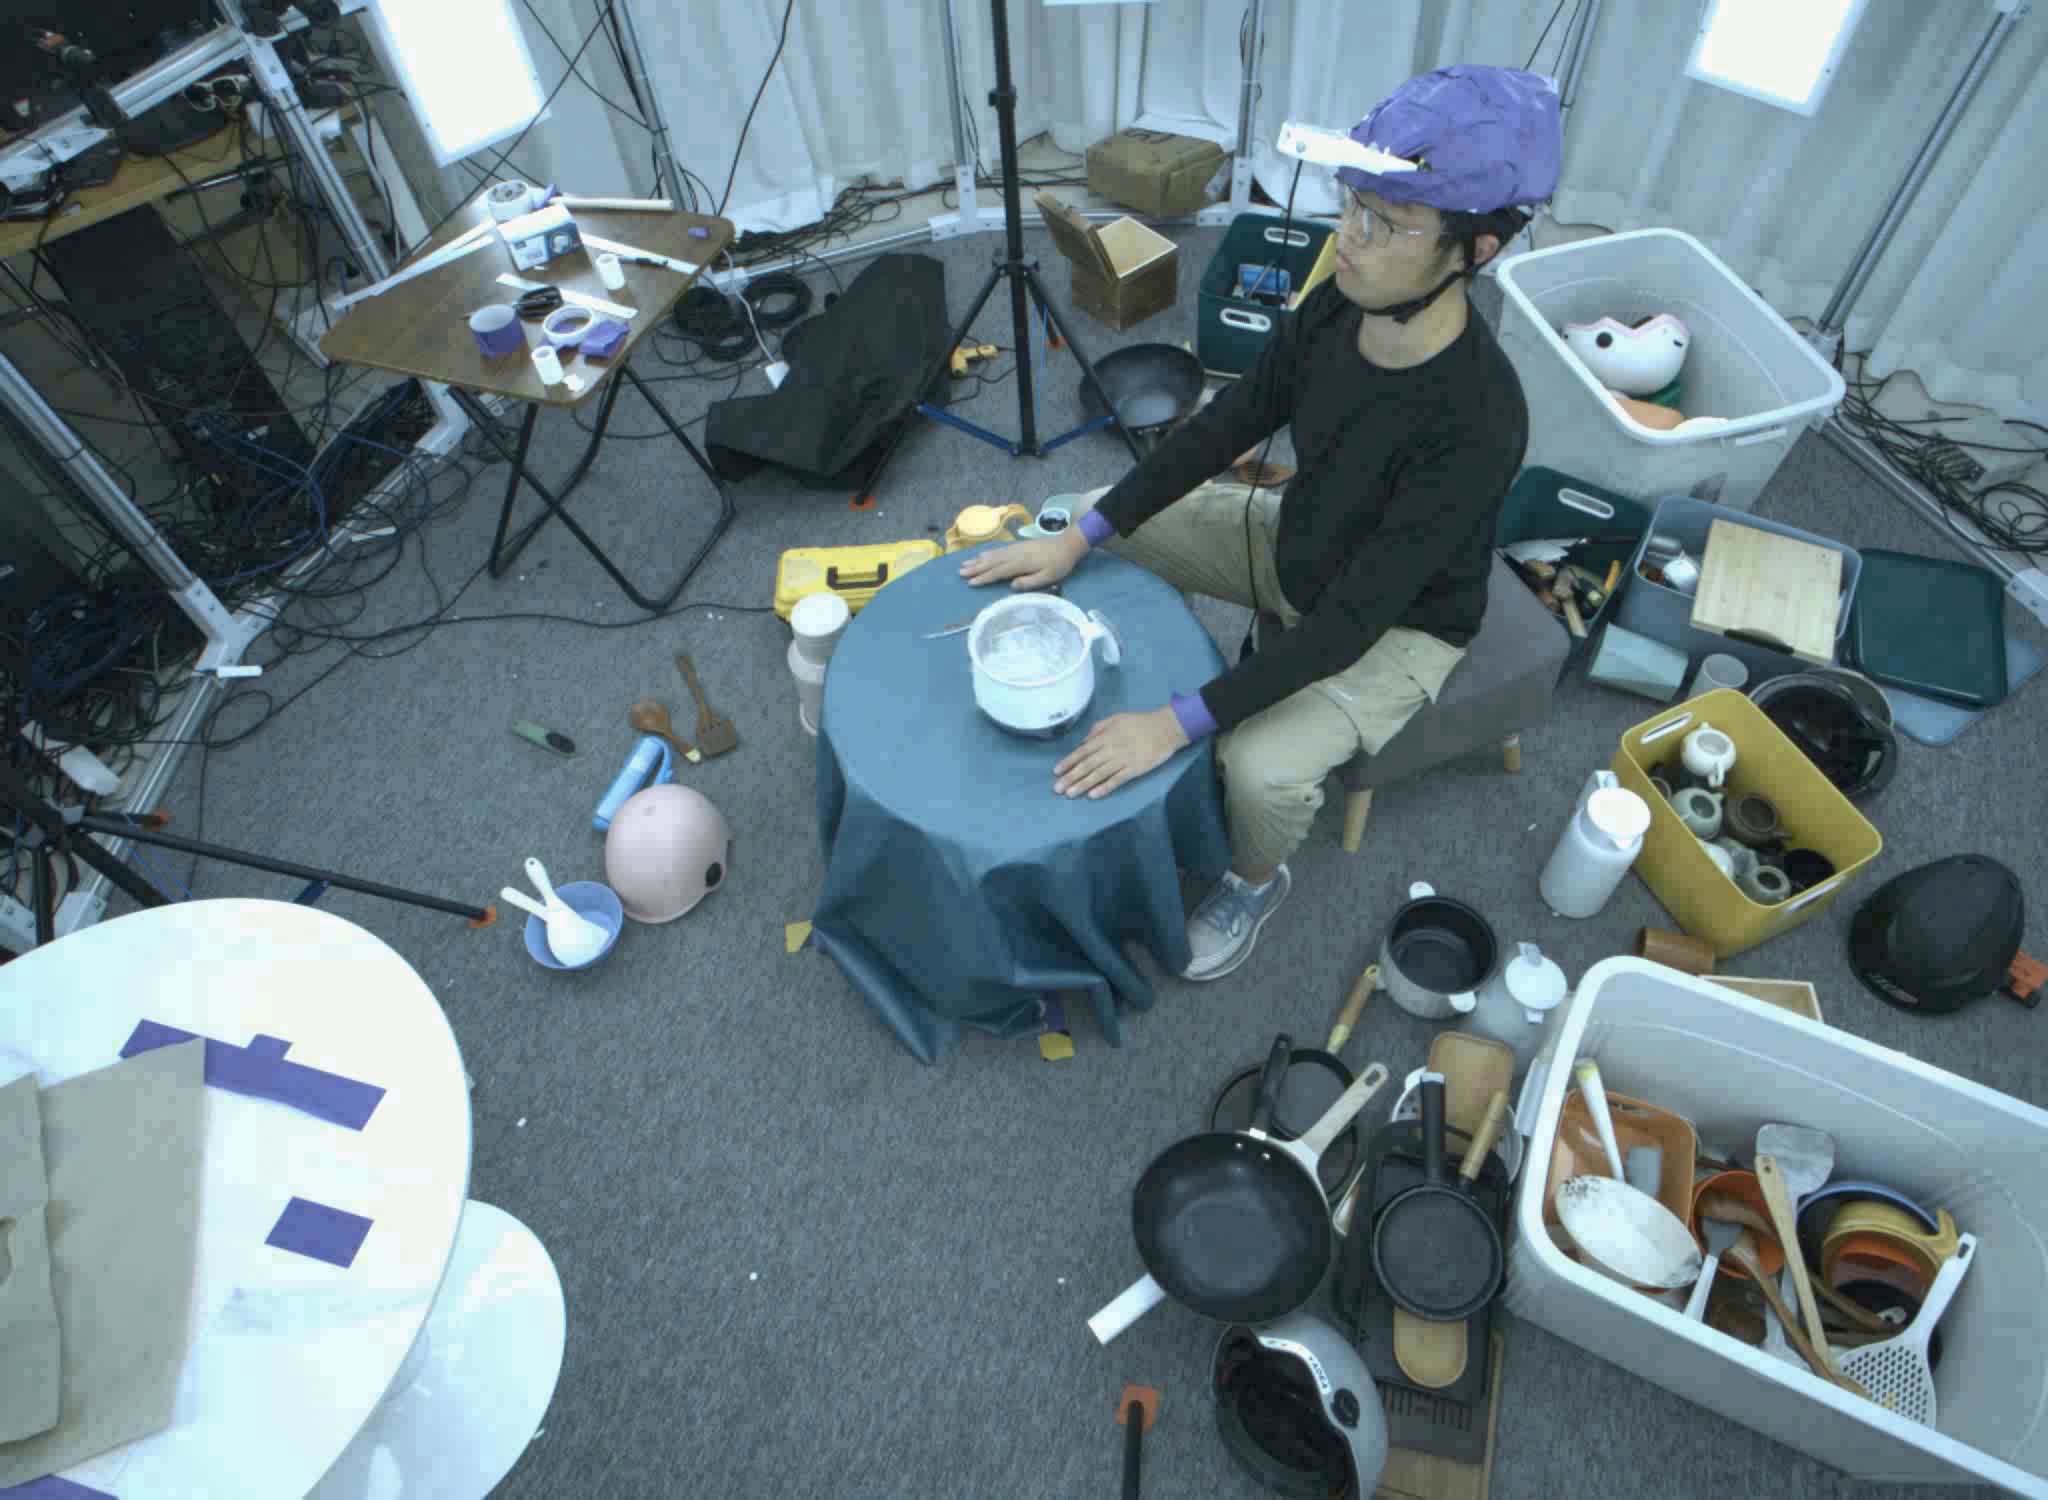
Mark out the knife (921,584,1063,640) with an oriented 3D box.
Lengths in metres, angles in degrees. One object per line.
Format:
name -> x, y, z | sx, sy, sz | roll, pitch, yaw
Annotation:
knife -> -0.052, -0.216, 1.933 | 0.239, 0.016, 0.024 | -21, 57, -9

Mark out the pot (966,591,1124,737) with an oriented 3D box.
pot -> 0.035, -0.133, 1.790 | 0.235, 0.138, 0.175 | -23, 57, -13
